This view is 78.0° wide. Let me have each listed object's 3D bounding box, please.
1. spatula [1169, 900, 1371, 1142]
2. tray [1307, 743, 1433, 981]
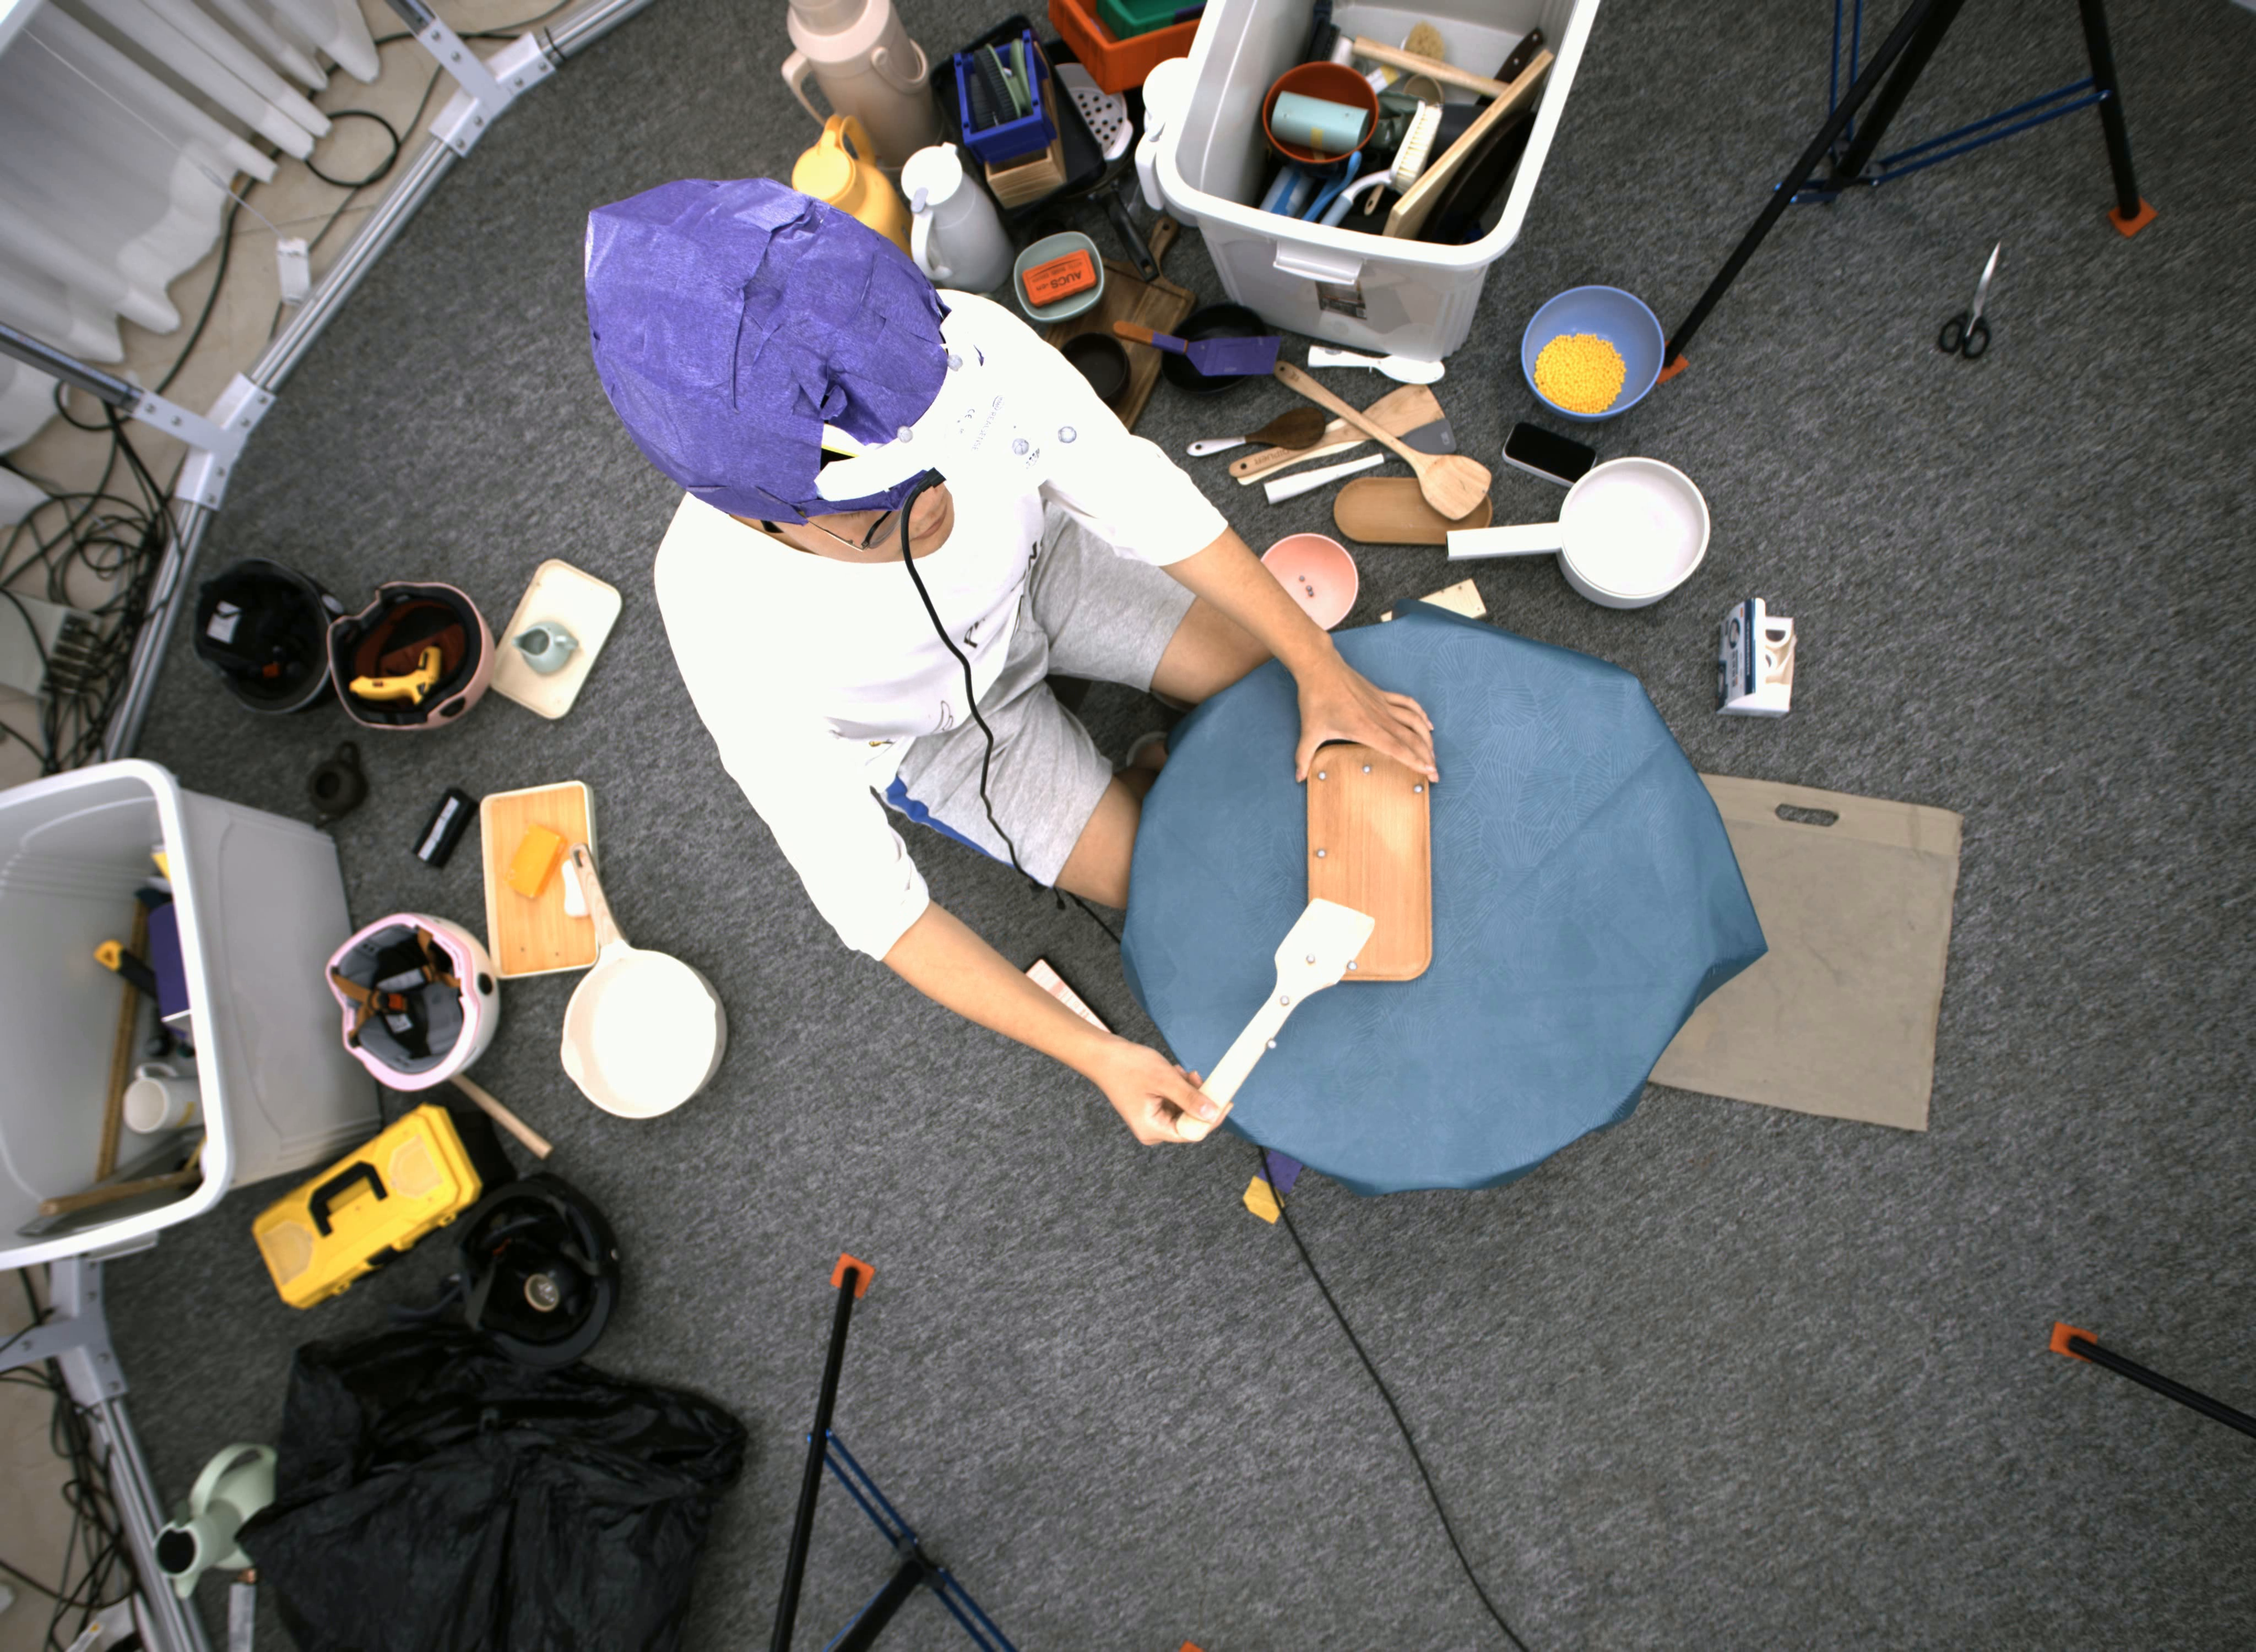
[{"bbox_3d":[0.127,0.177,1.277,0.072,0.011,0.287,22,56,31],"label":"spatula"},{"bbox_3d":[0.255,0.036,1.457,0.131,0.023,0.249,0,87,13],"label":"tray"}]
